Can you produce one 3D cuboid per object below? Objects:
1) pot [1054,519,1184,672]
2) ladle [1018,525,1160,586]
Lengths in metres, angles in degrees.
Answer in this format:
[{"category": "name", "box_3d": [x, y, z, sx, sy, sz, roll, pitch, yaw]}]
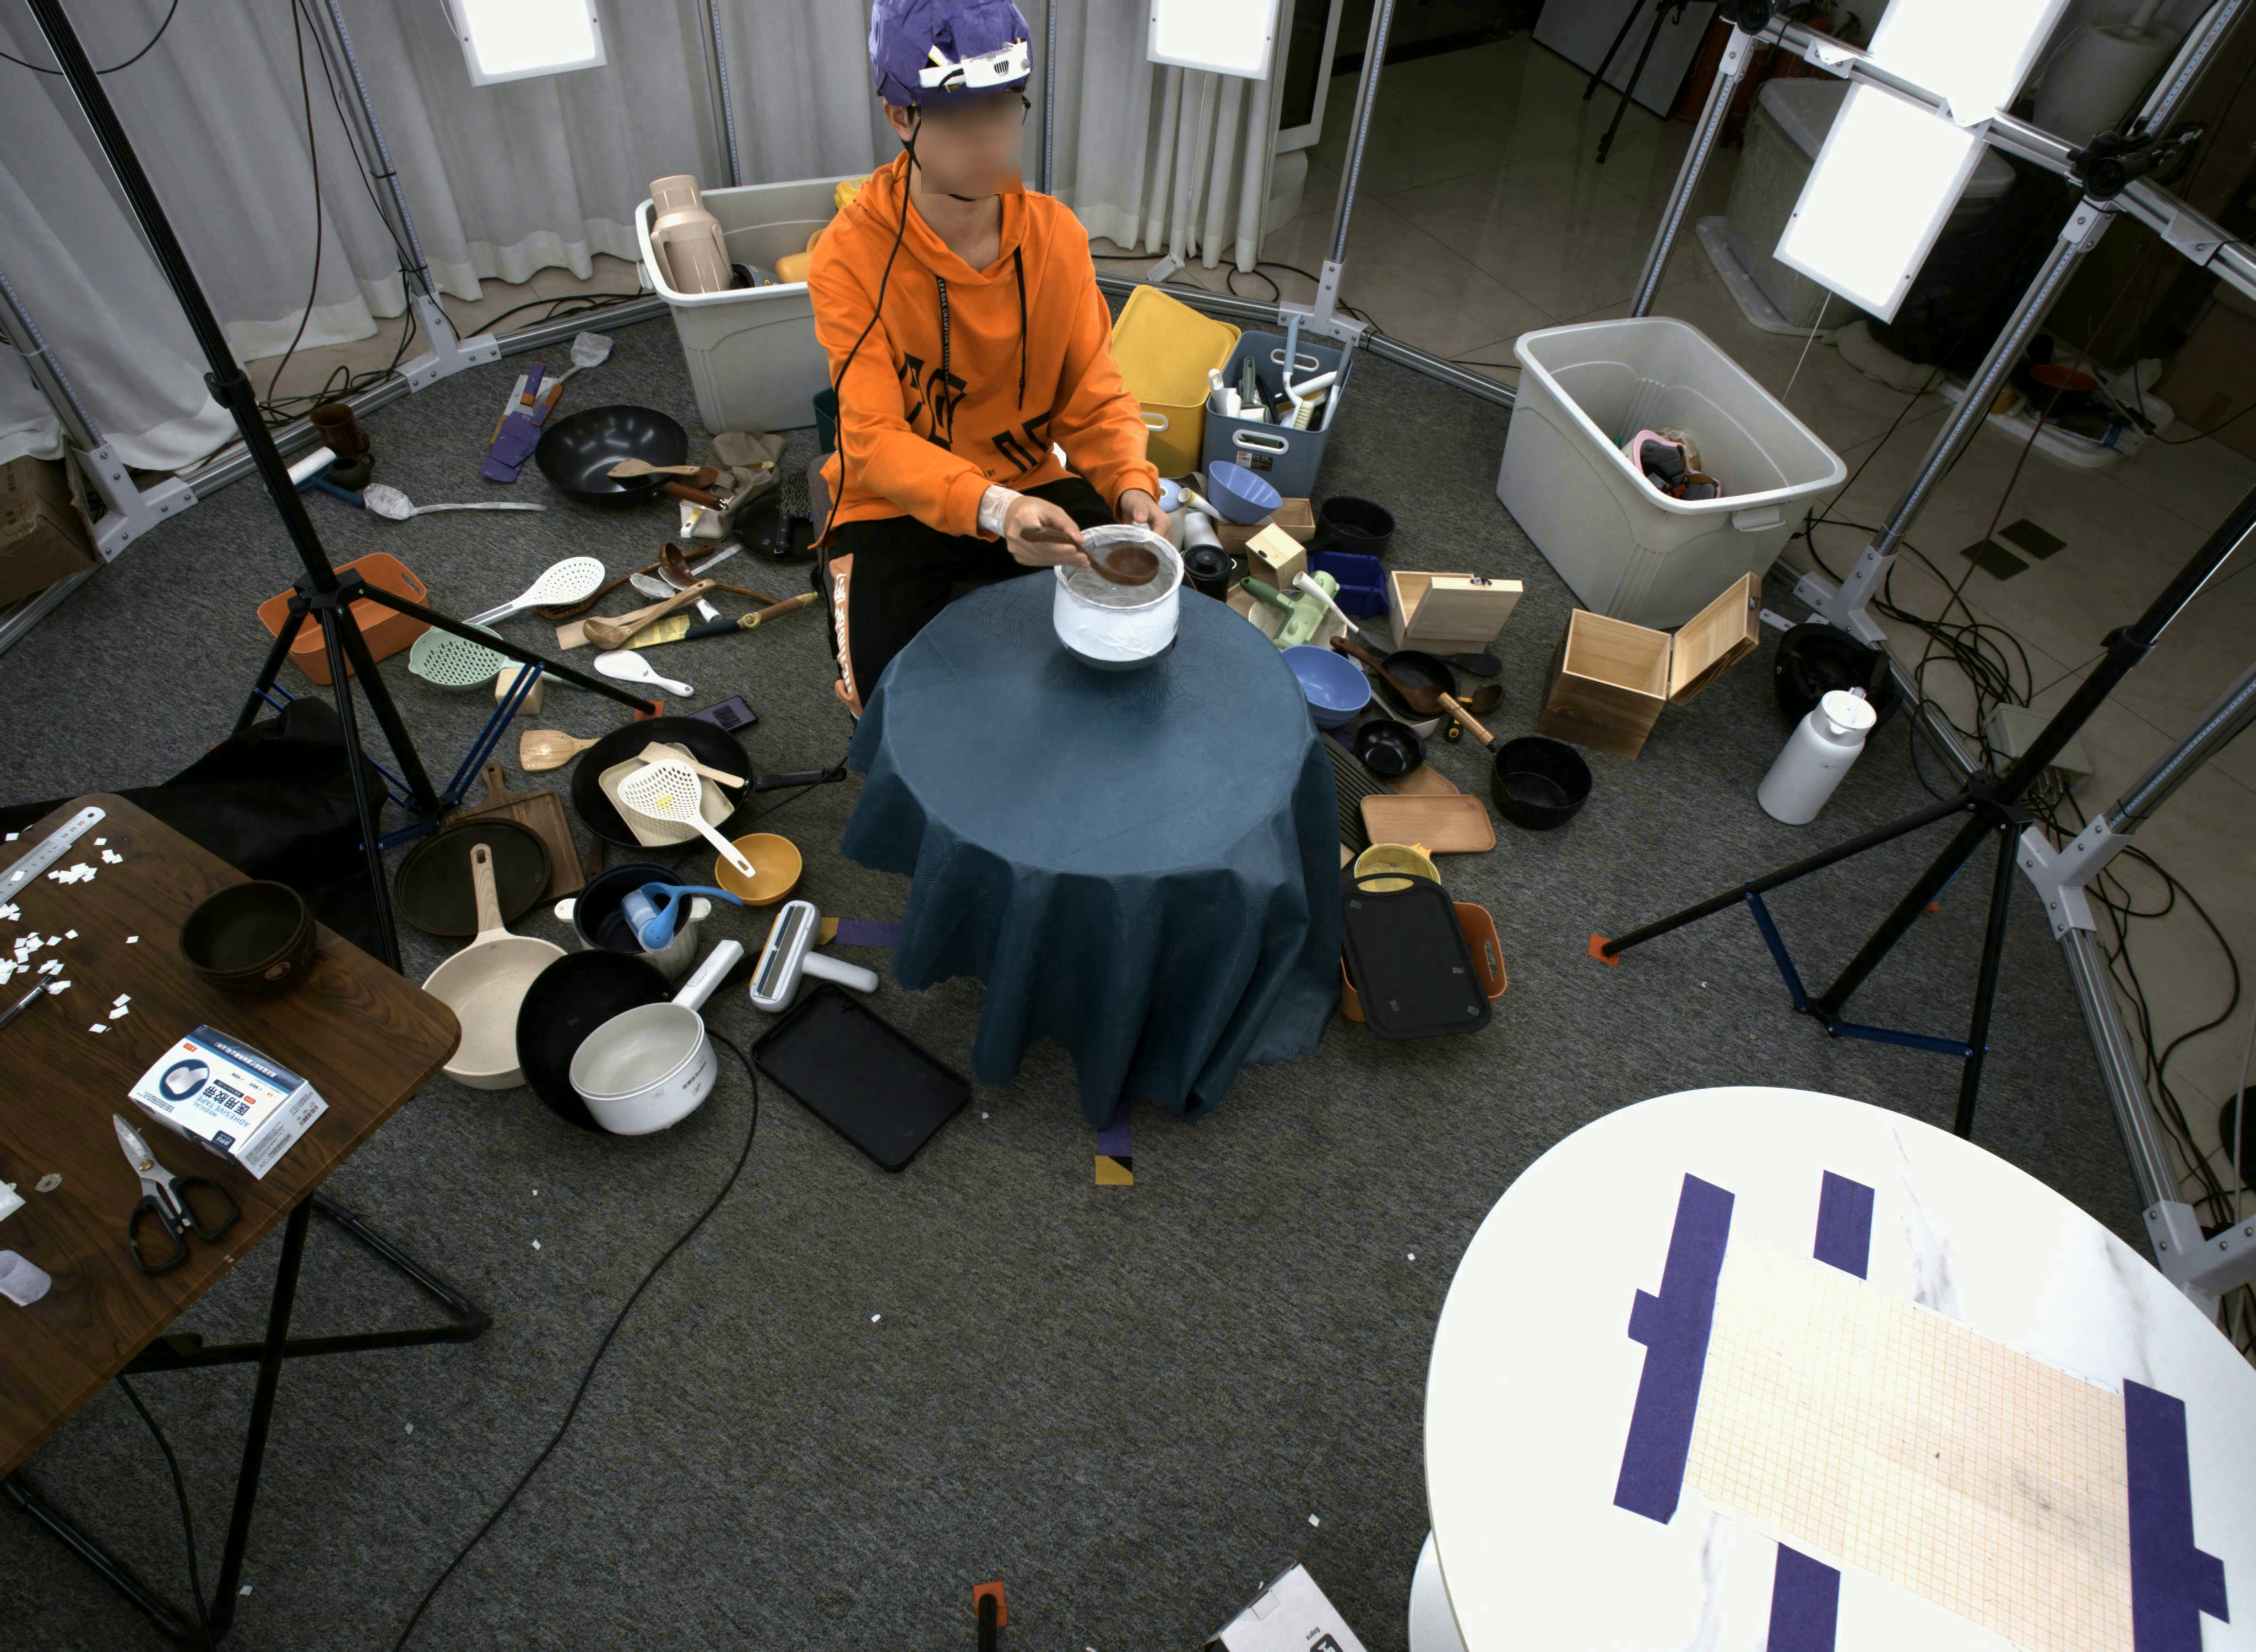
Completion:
[{"category": "pot", "box_3d": [-0.008, -0.335, 1.816, 0.179, 0.133, 0.239, 13, 50, 7]}, {"category": "ladle", "box_3d": [-0.047, -0.368, 1.684, 0.078, 0.065, 0.257, 33, 12, 33]}]
